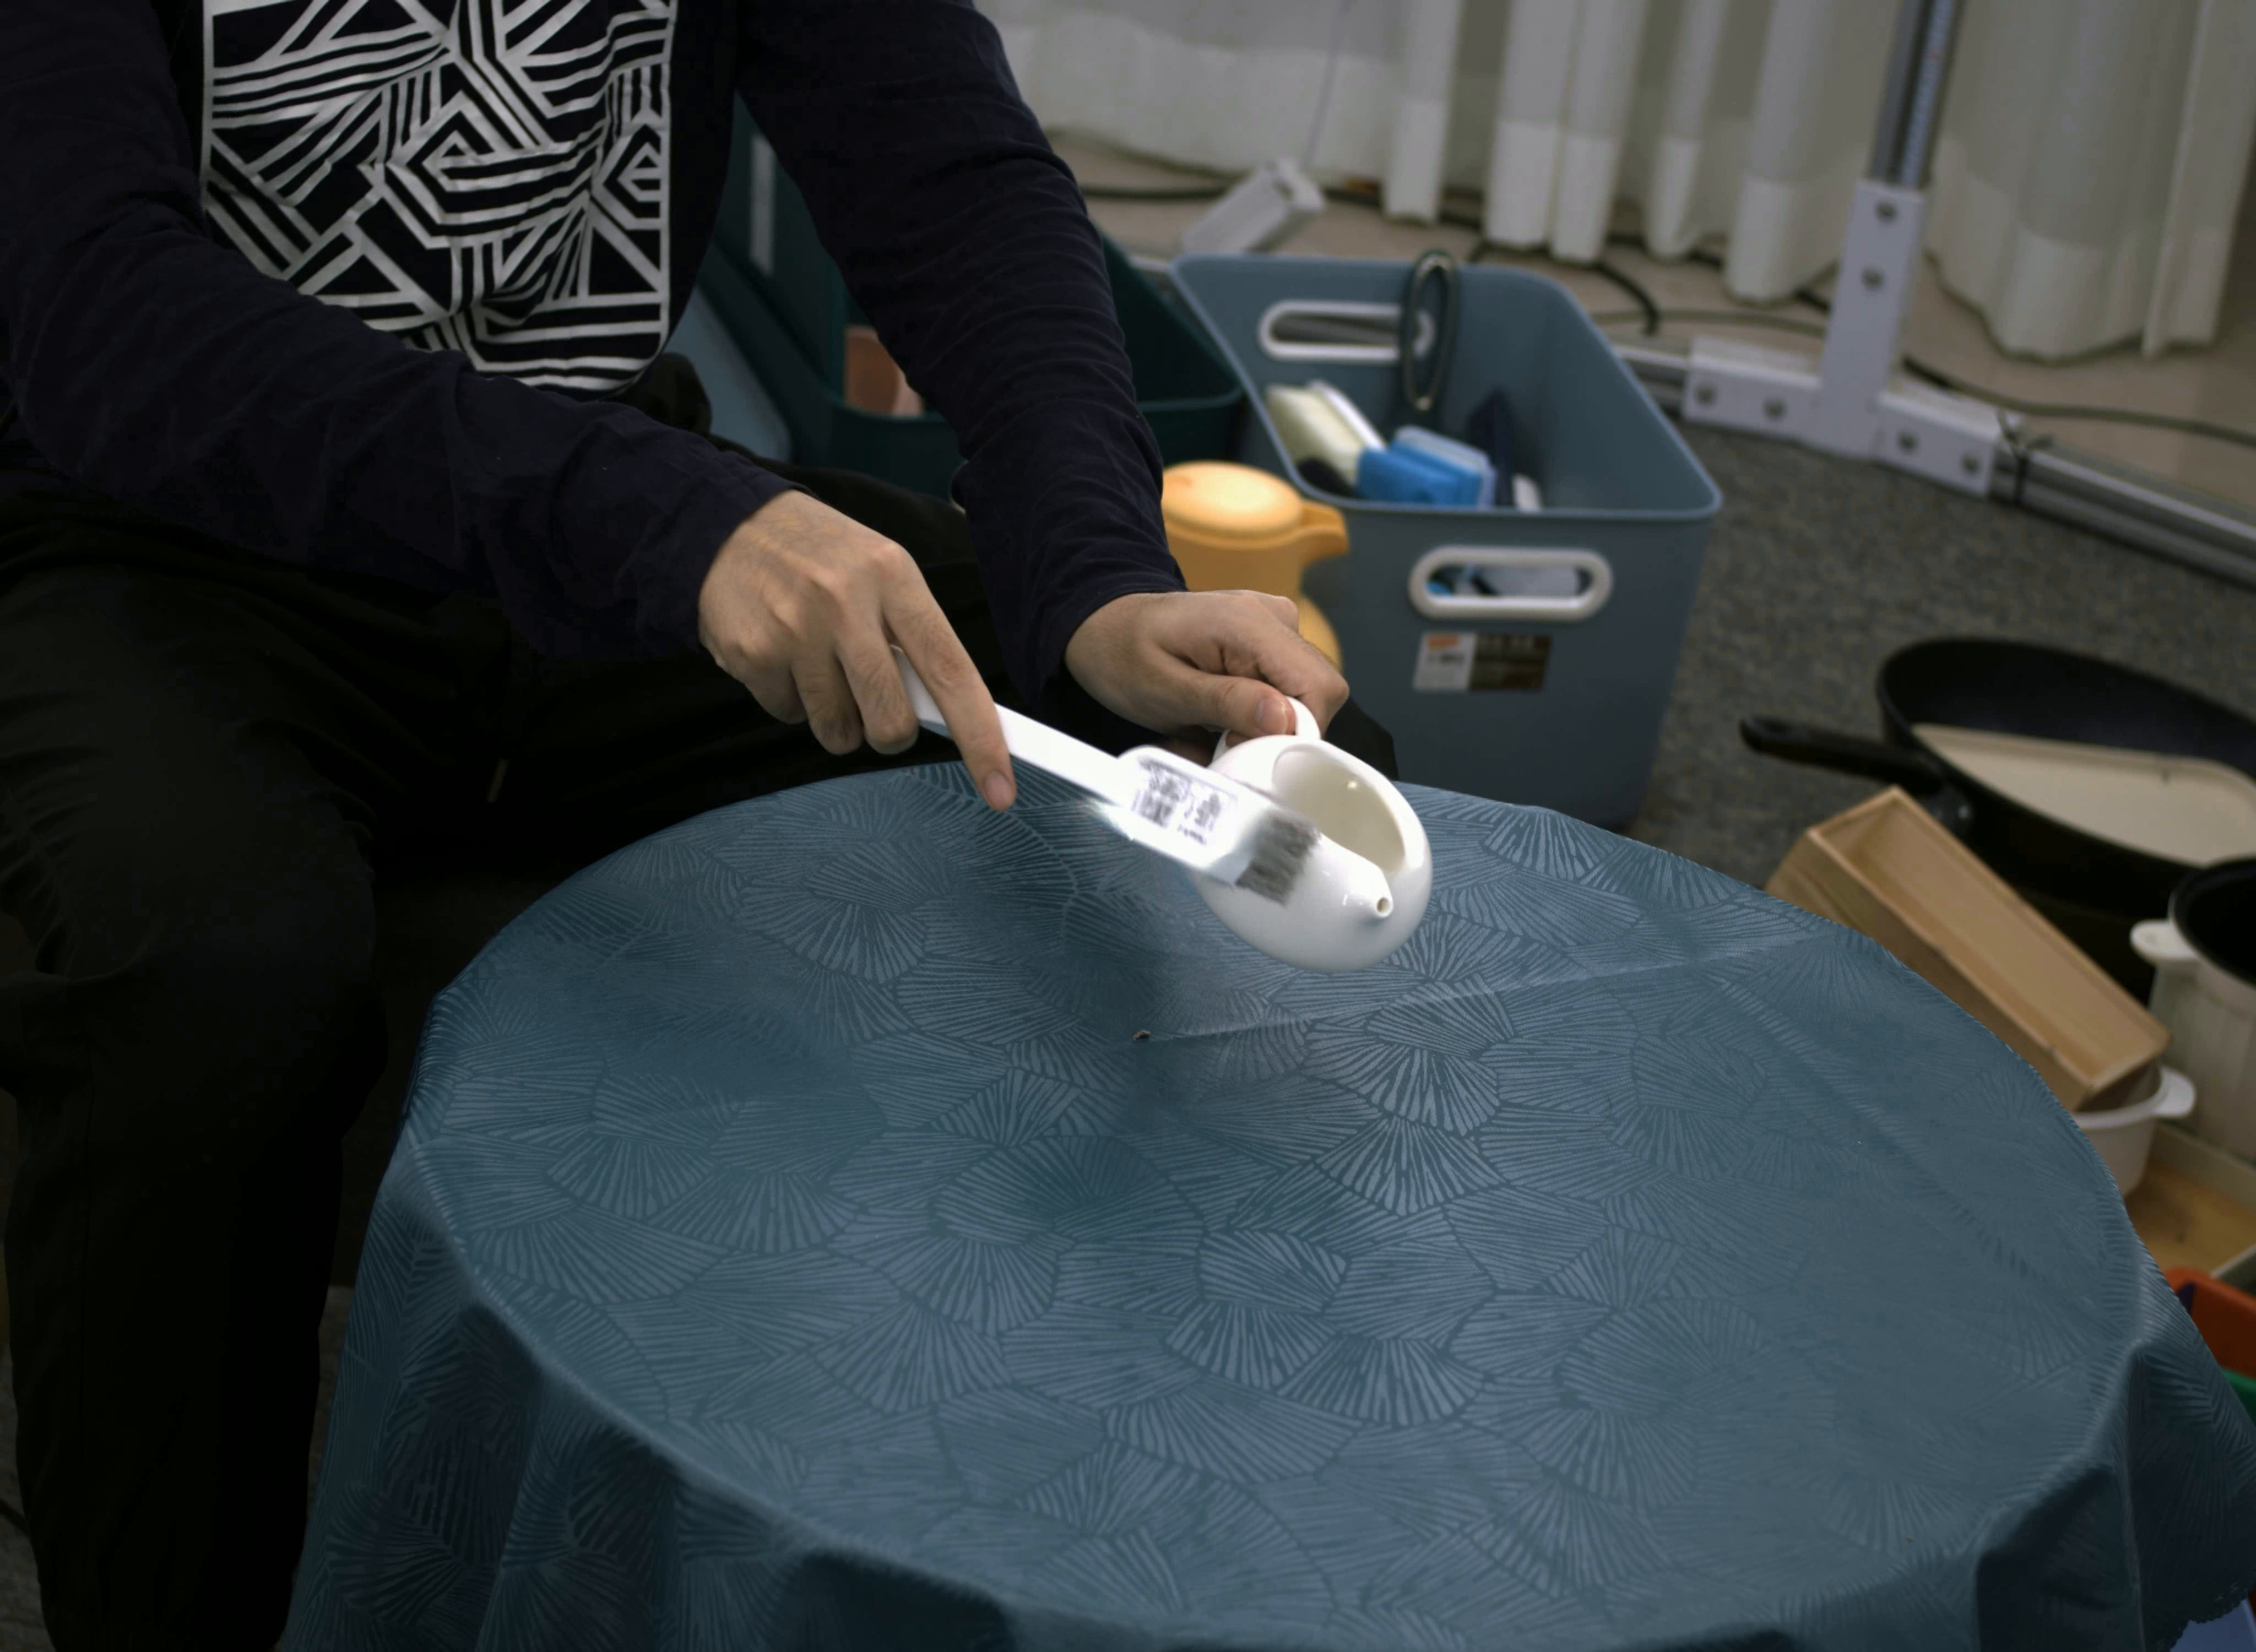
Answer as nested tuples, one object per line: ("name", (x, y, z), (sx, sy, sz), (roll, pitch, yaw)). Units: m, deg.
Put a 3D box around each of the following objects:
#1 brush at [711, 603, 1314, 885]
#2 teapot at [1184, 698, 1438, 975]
("brush", (-0.041, -0.031, 1.861), (0.245, 0.034, 0.050), (21, 3, 31))
("teapot", (0.061, 0.004, 1.880), (0.092, 0.056, 0.128), (8, 38, -32))
